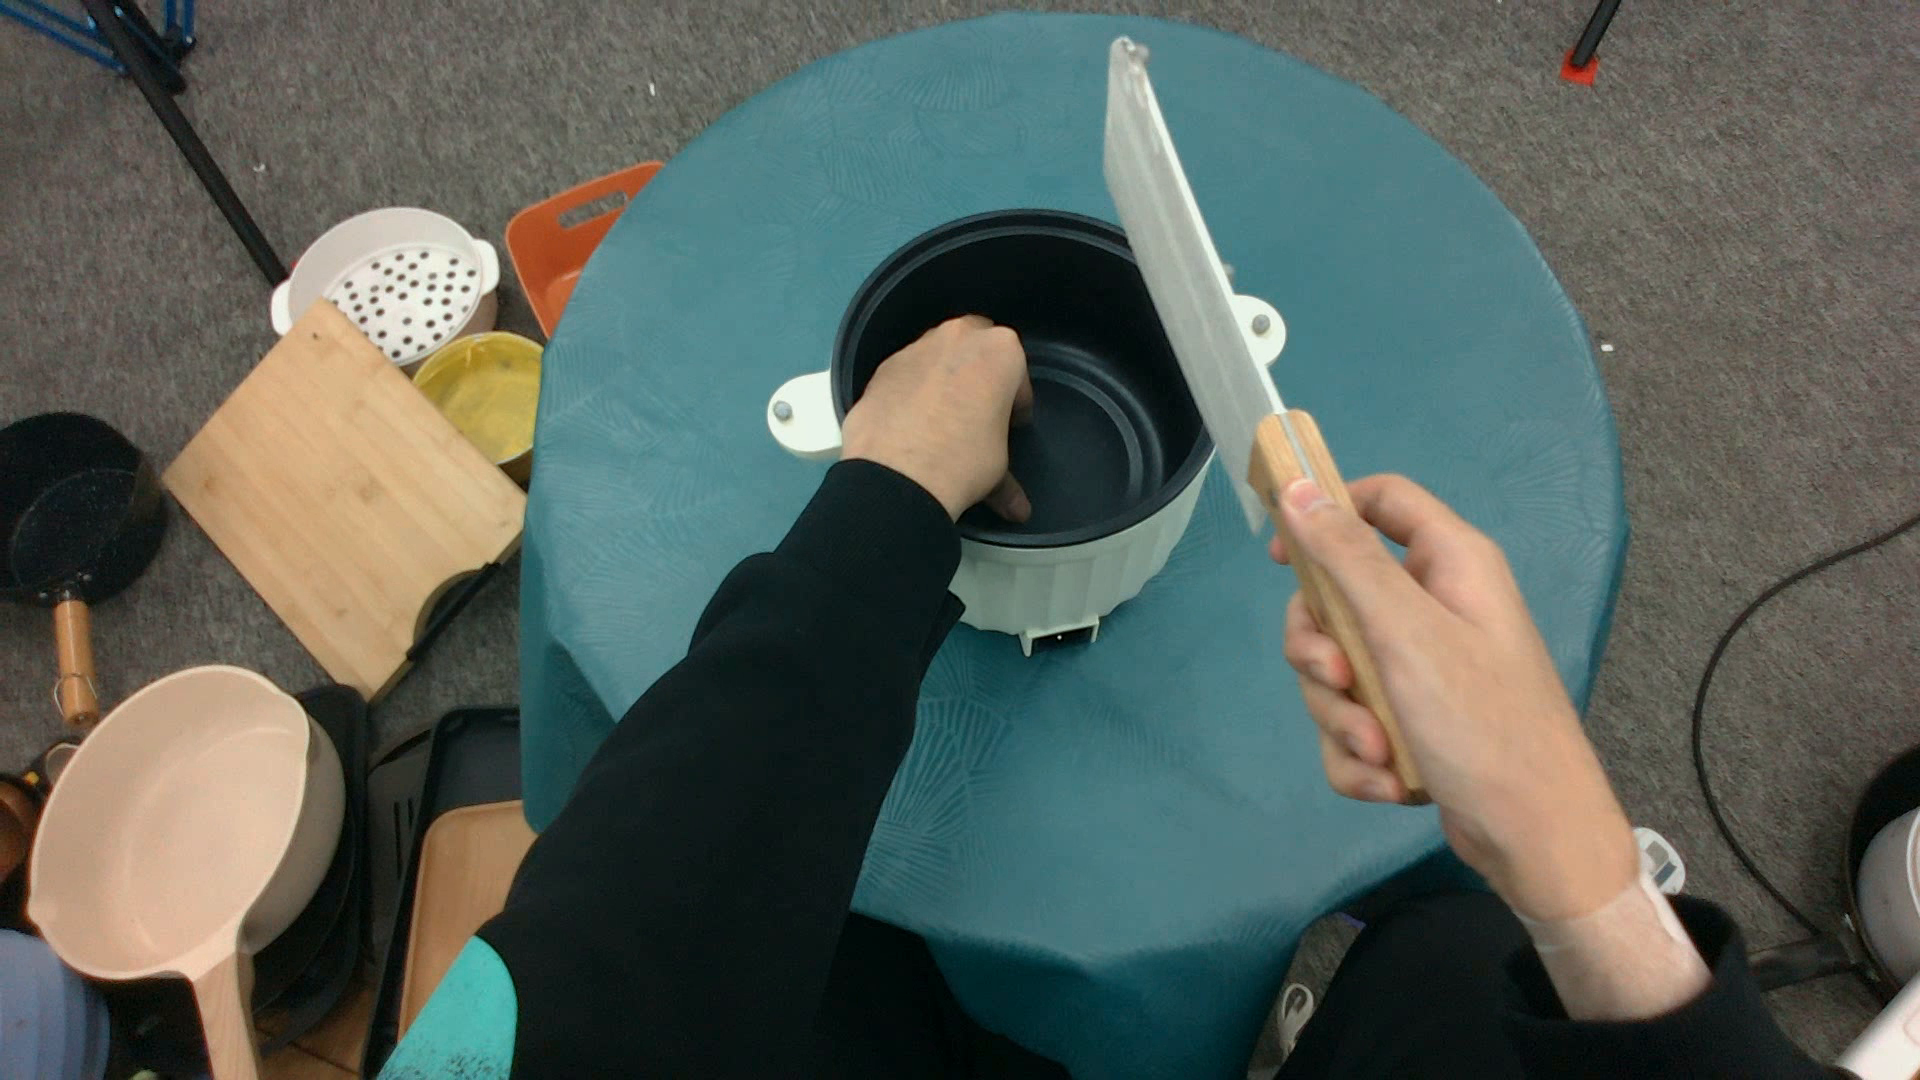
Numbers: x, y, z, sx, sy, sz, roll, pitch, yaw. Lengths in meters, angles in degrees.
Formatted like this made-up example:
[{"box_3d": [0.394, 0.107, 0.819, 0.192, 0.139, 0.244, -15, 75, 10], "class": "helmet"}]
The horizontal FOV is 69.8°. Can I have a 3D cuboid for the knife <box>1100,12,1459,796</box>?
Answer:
[{"box_3d": [0.100, -0.057, 0.493, 0.022, 0.113, 0.316, -16, 63, -2], "class": "knife"}]

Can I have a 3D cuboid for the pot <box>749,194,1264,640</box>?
[{"box_3d": [0.020, -0.060, 0.681, 0.240, 0.142, 0.191, -12, 67, -7], "class": "pot"}]
